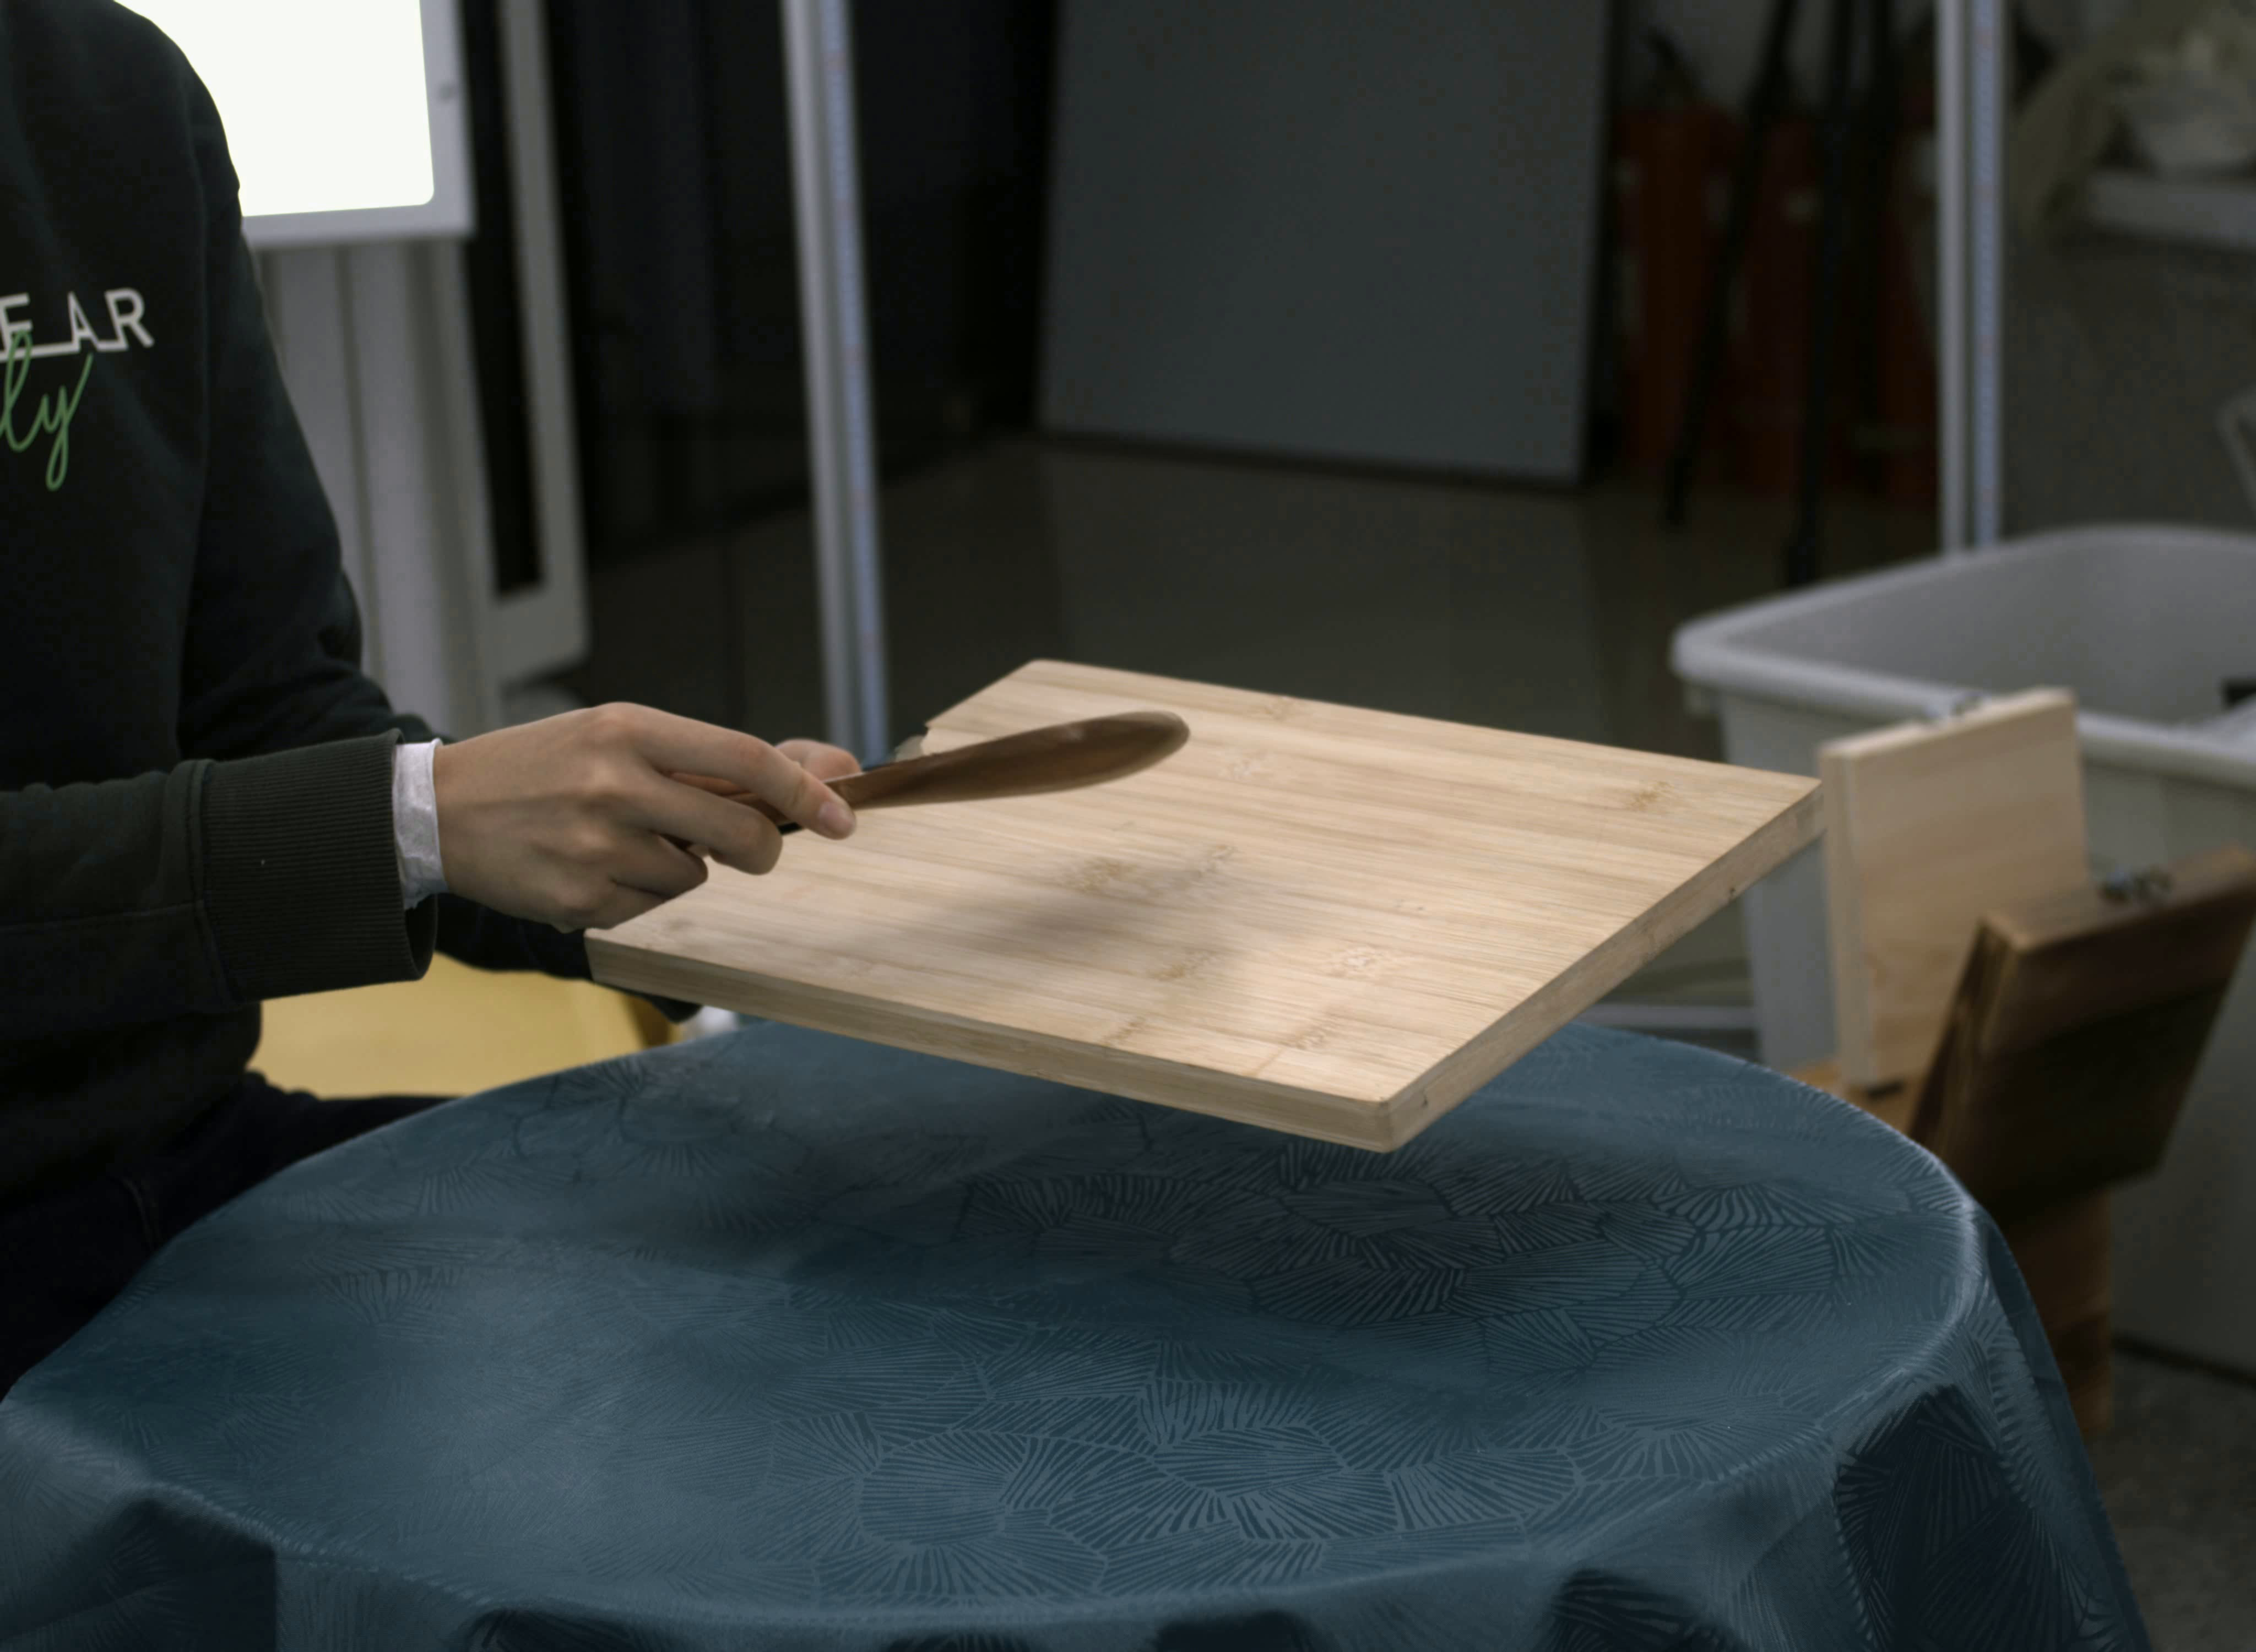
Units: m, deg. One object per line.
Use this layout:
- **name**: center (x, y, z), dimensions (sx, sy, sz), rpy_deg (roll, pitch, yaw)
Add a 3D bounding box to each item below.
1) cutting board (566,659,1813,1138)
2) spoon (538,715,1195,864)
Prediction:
- **cutting board**: center (0.017, 0.017, 1.756), dimensions (0.351, 0.024, 0.247), rpy_deg (9, 29, 40)
- **spoon**: center (-0.083, -0.011, 1.713), dimensions (0.214, 0.017, 0.075), rpy_deg (-9, -4, 9)
